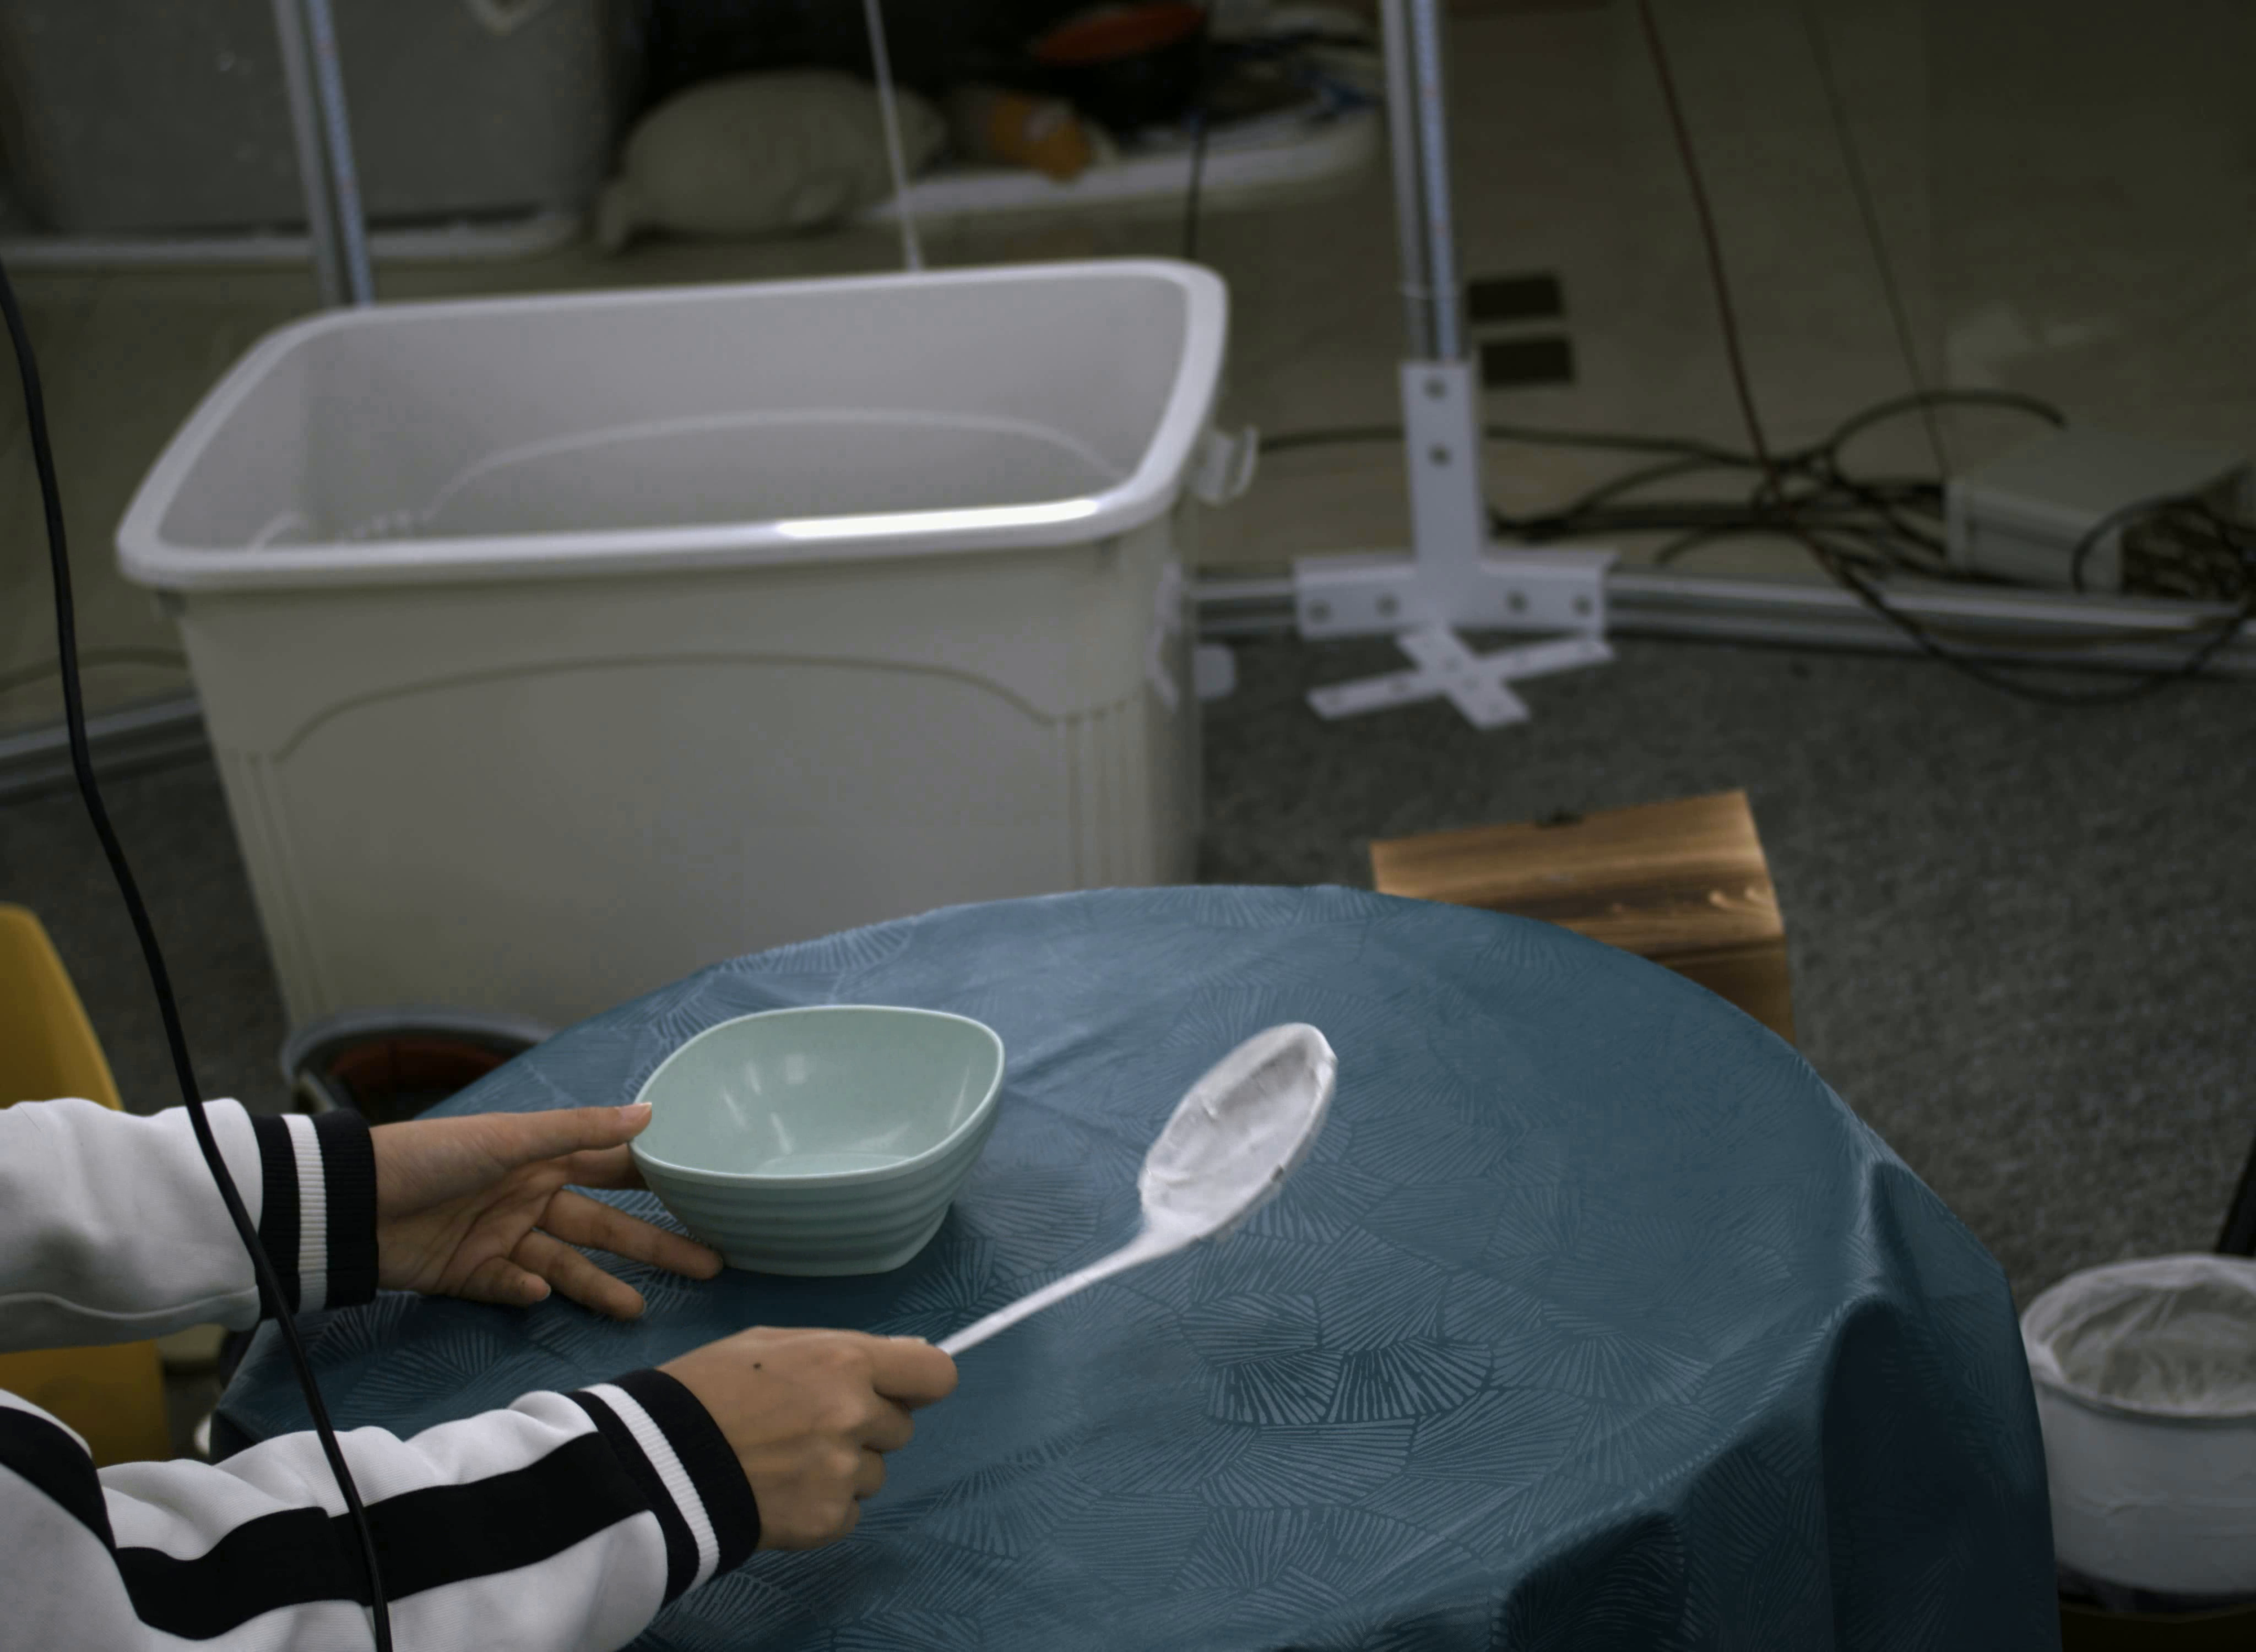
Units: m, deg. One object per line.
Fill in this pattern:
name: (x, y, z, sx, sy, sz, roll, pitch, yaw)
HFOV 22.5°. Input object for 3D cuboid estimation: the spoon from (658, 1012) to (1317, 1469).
spoon: (-0.051, 0.142, 1.968, 0.276, 0.060, 0.100, -23, 9, -23)

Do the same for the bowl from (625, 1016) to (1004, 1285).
bowl: (-0.114, 0.127, 2.139, 0.151, 0.059, 0.149, -5, 25, 3)
